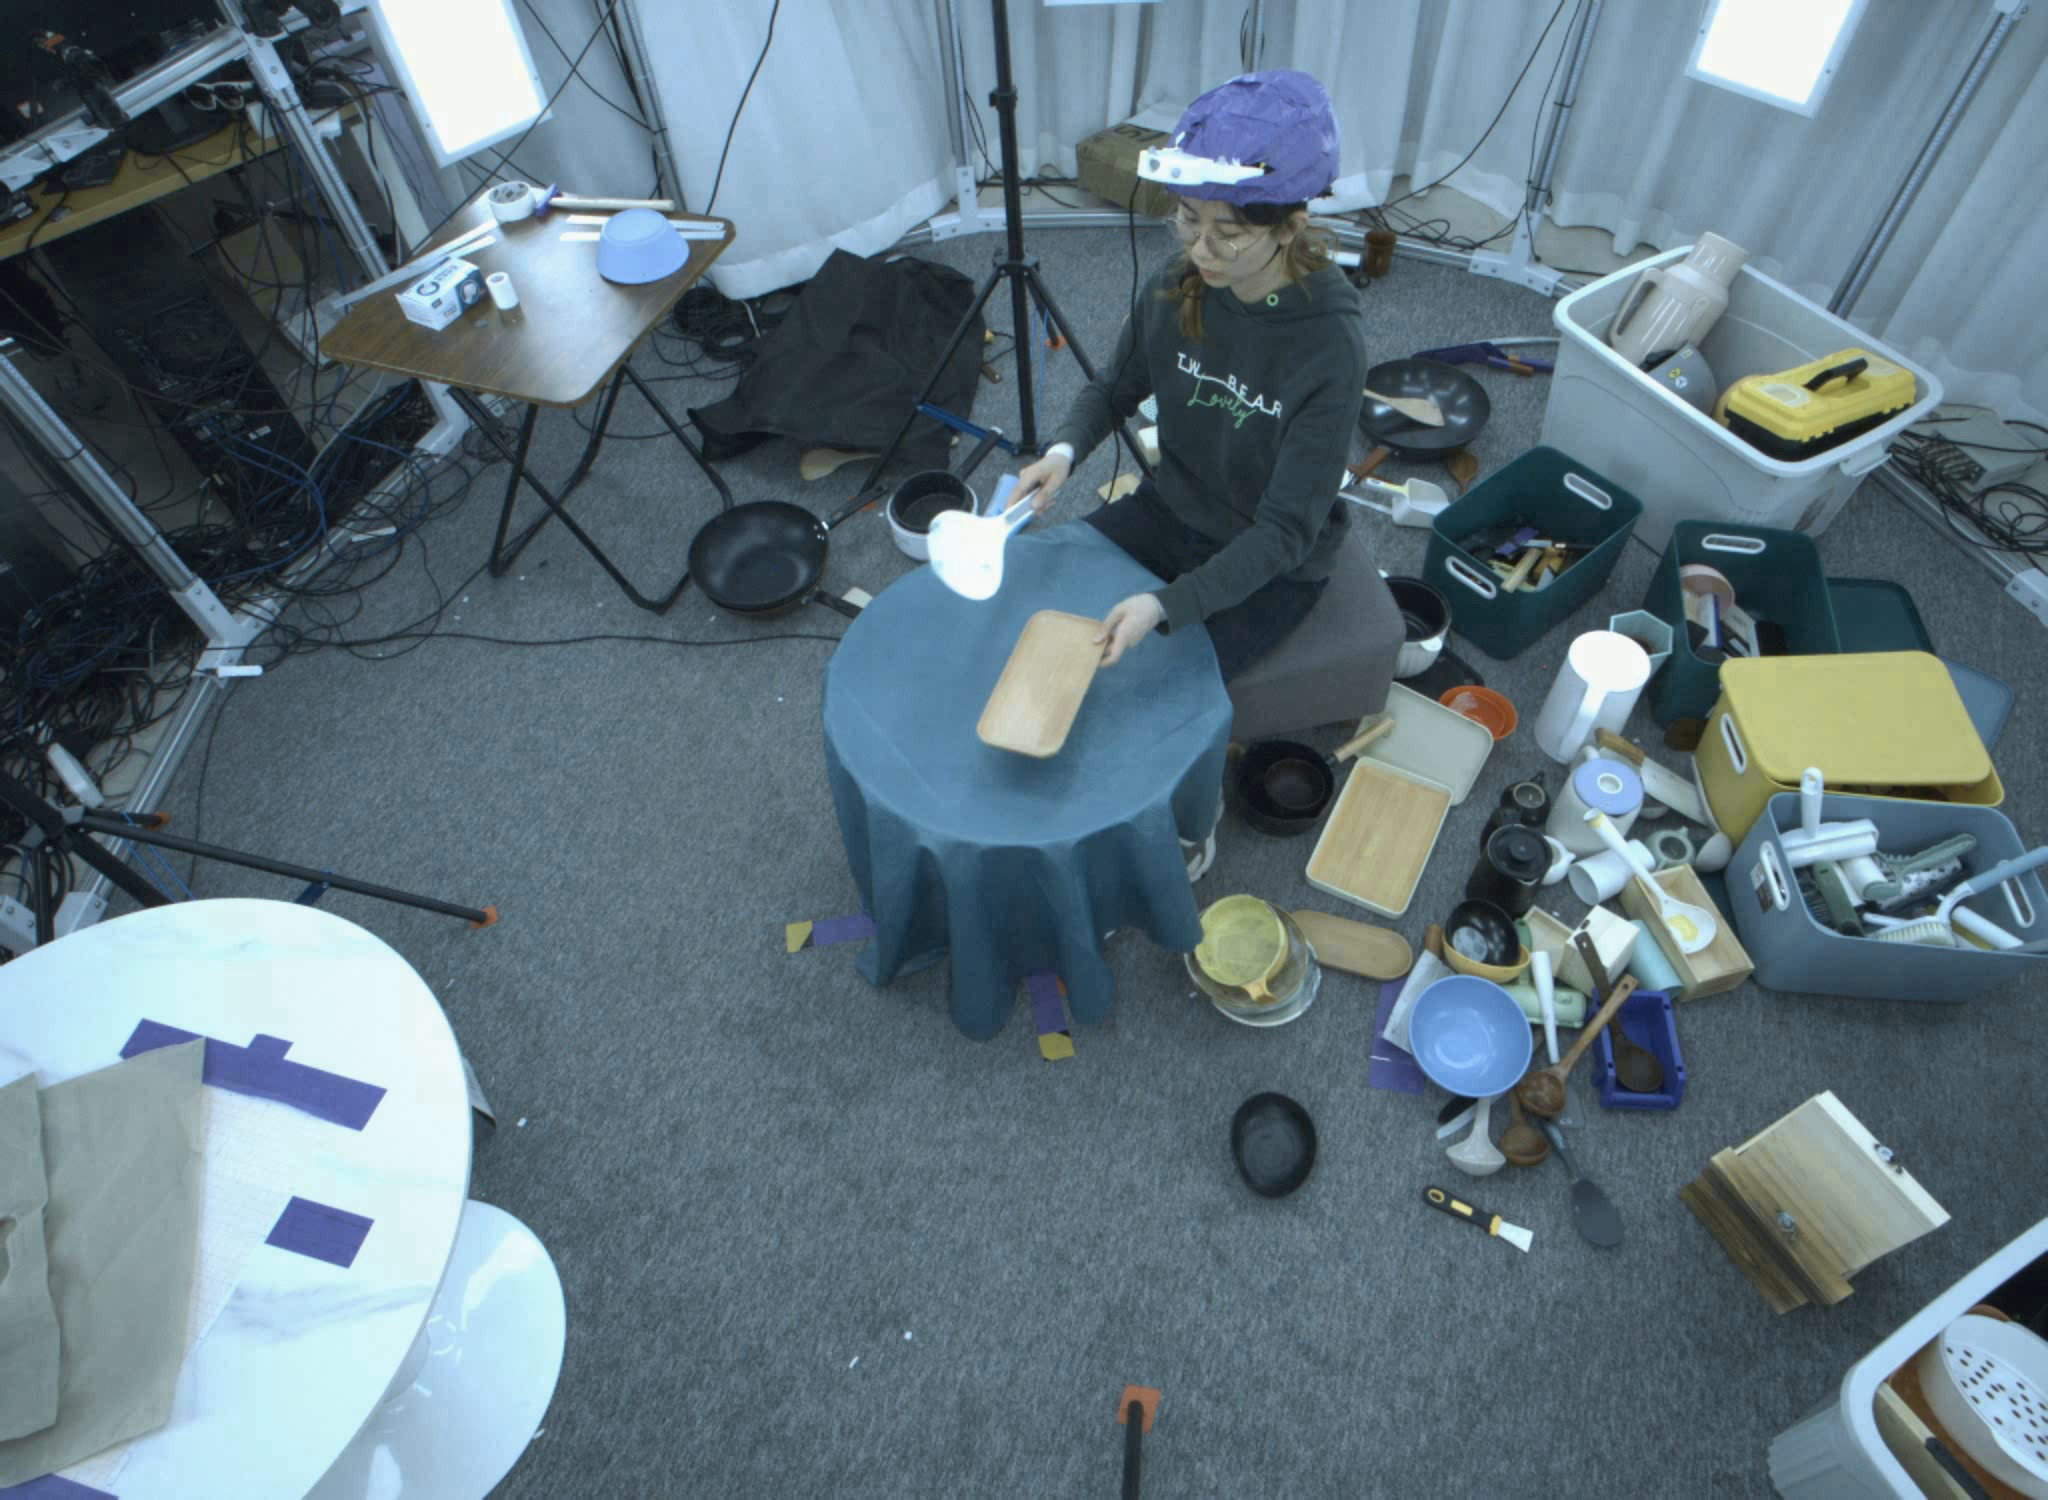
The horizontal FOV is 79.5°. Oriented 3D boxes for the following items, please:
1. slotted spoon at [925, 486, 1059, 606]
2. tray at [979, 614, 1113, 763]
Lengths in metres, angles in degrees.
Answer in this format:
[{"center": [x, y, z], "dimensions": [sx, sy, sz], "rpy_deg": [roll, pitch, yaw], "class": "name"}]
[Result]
[{"center": [-0.040, -0.322, 1.827], "dimensions": [0.137, 0.045, 0.352], "rpy_deg": [56, 47, -12], "class": "slotted spoon"}, {"center": [0.033, -0.091, 1.764], "dimensions": [0.129, 0.023, 0.250], "rpy_deg": [17, 60, 14], "class": "tray"}]
